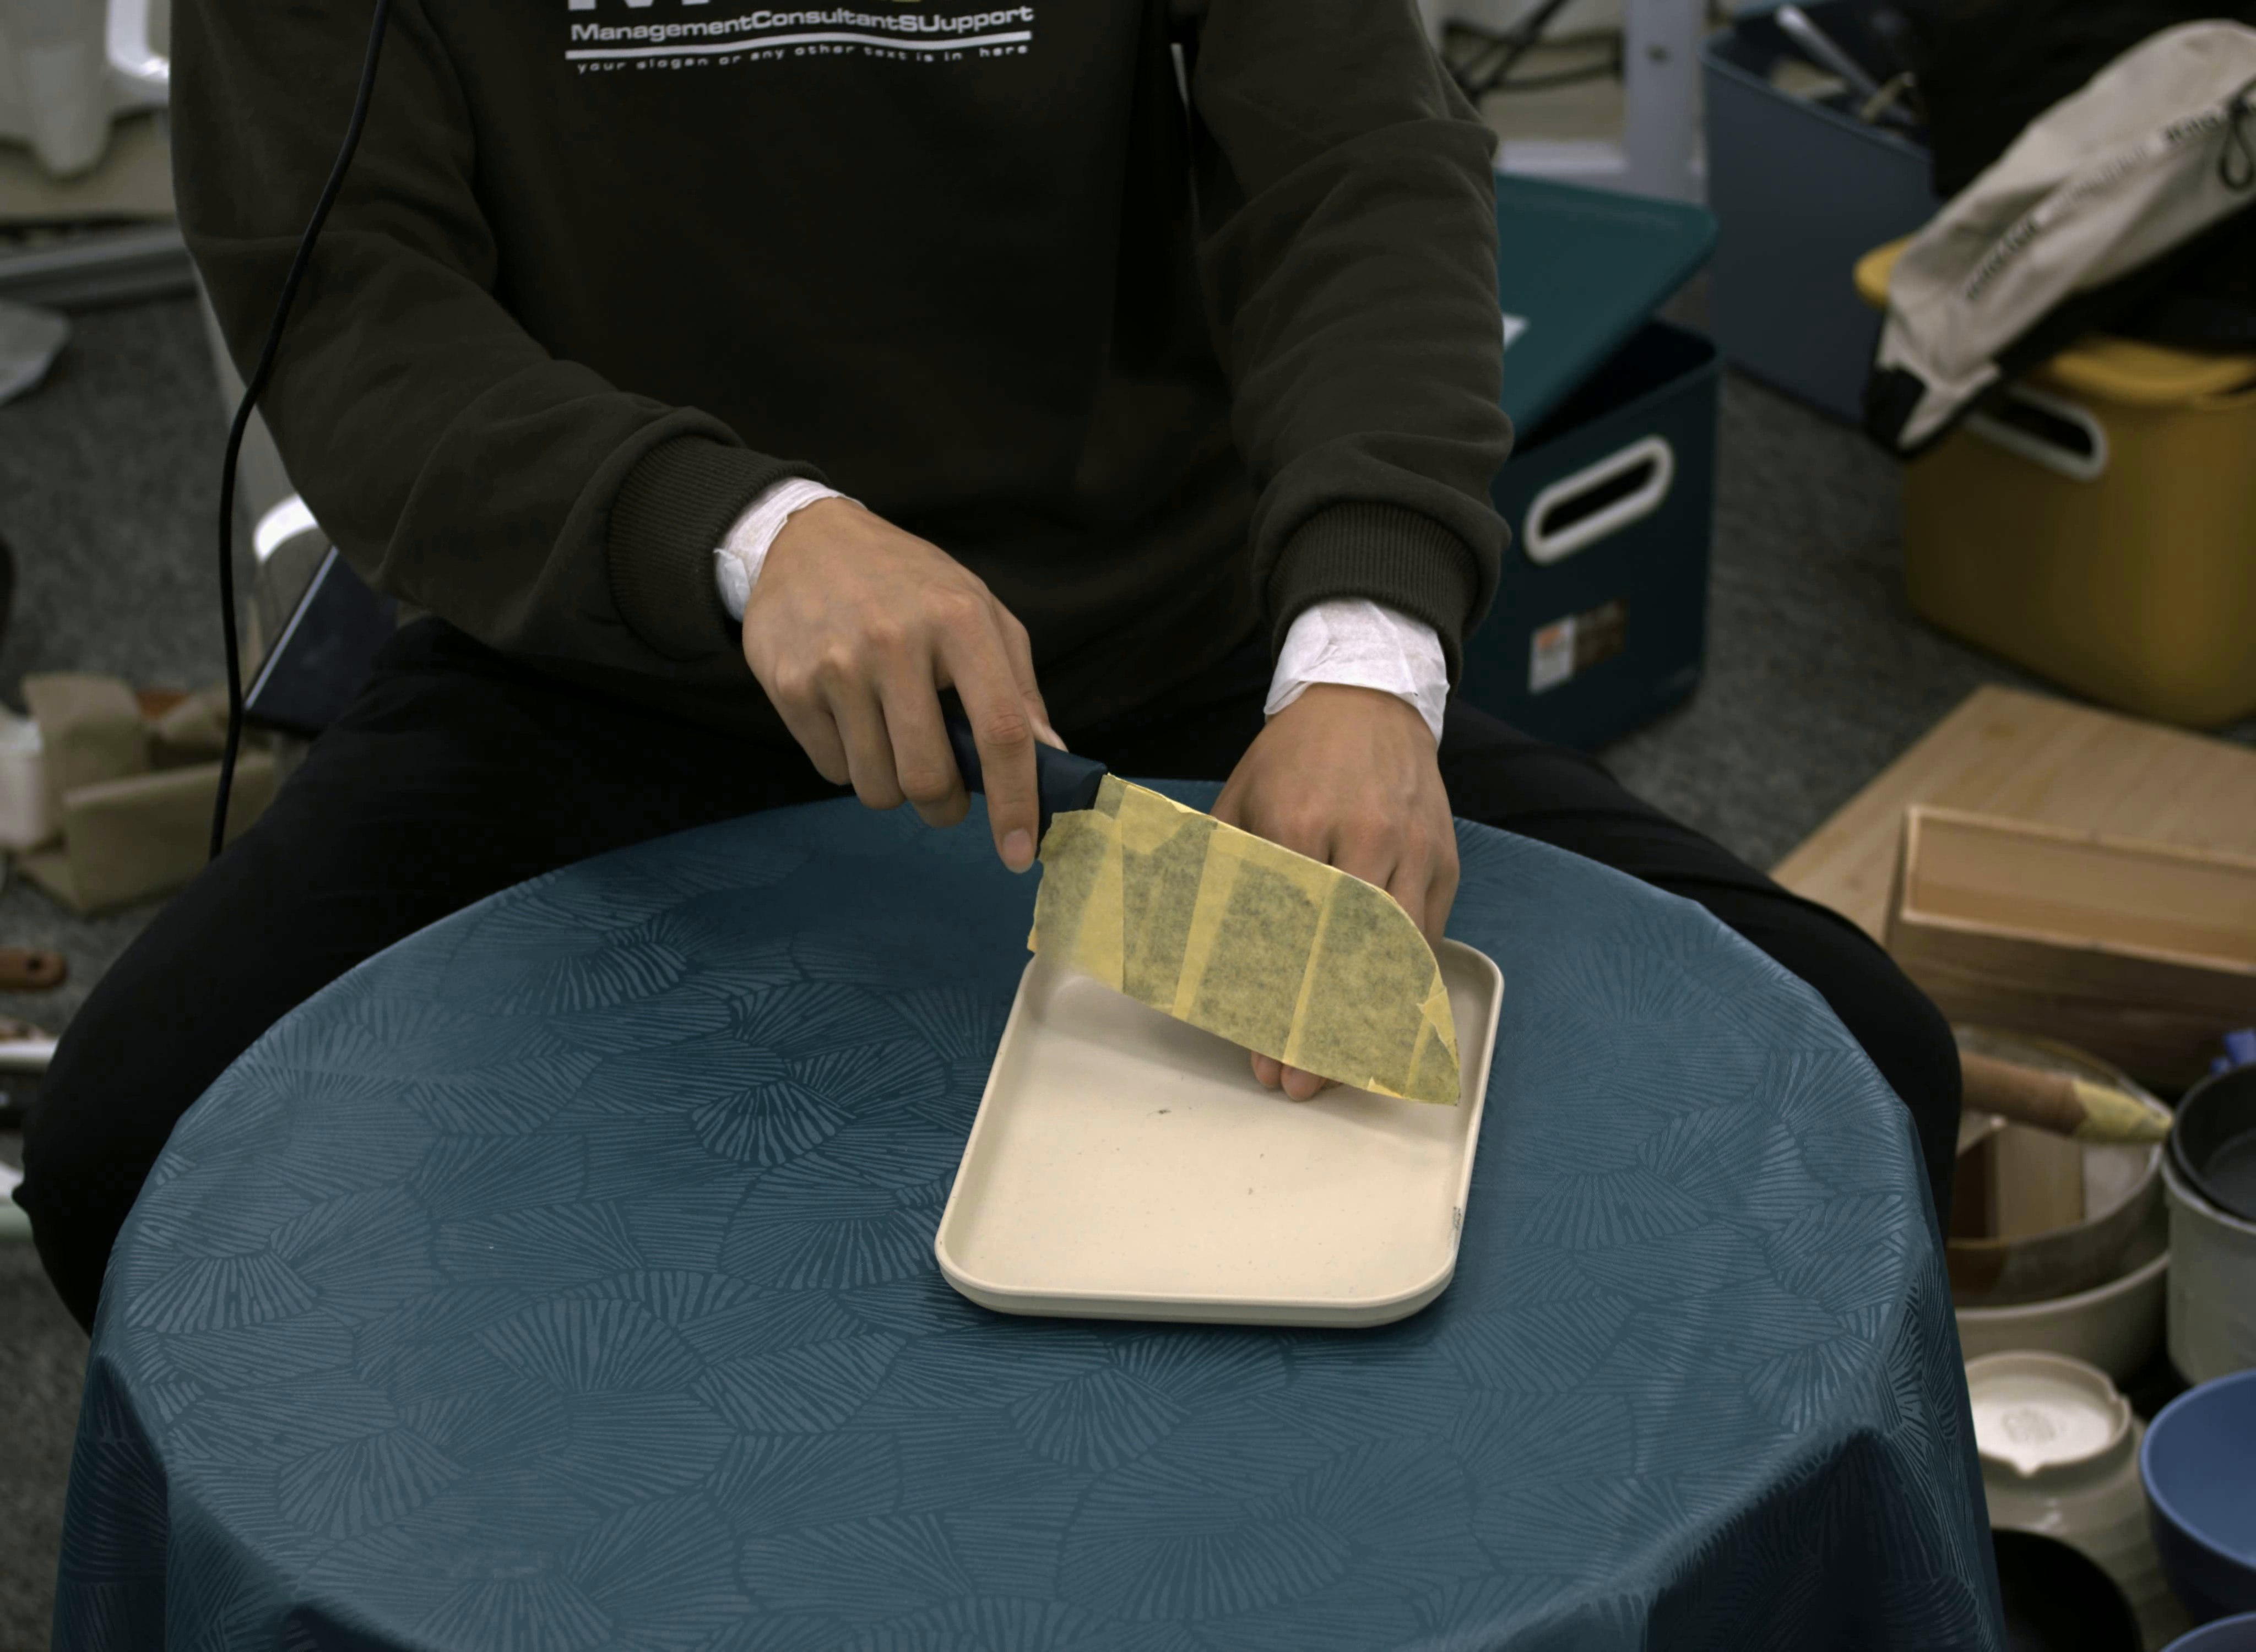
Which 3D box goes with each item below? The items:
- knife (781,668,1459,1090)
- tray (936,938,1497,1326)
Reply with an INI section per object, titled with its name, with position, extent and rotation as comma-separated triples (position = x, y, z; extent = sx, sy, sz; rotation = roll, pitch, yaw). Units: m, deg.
[knife]
position = -0.006, 0.016, 1.923
extent = 0.289, 0.080, 0.027
rotation = 26, 18, 27
[tray]
position = 0.033, 0.101, 1.880
extent = 0.170, 0.017, 0.243
rotation = 1, 27, 8
